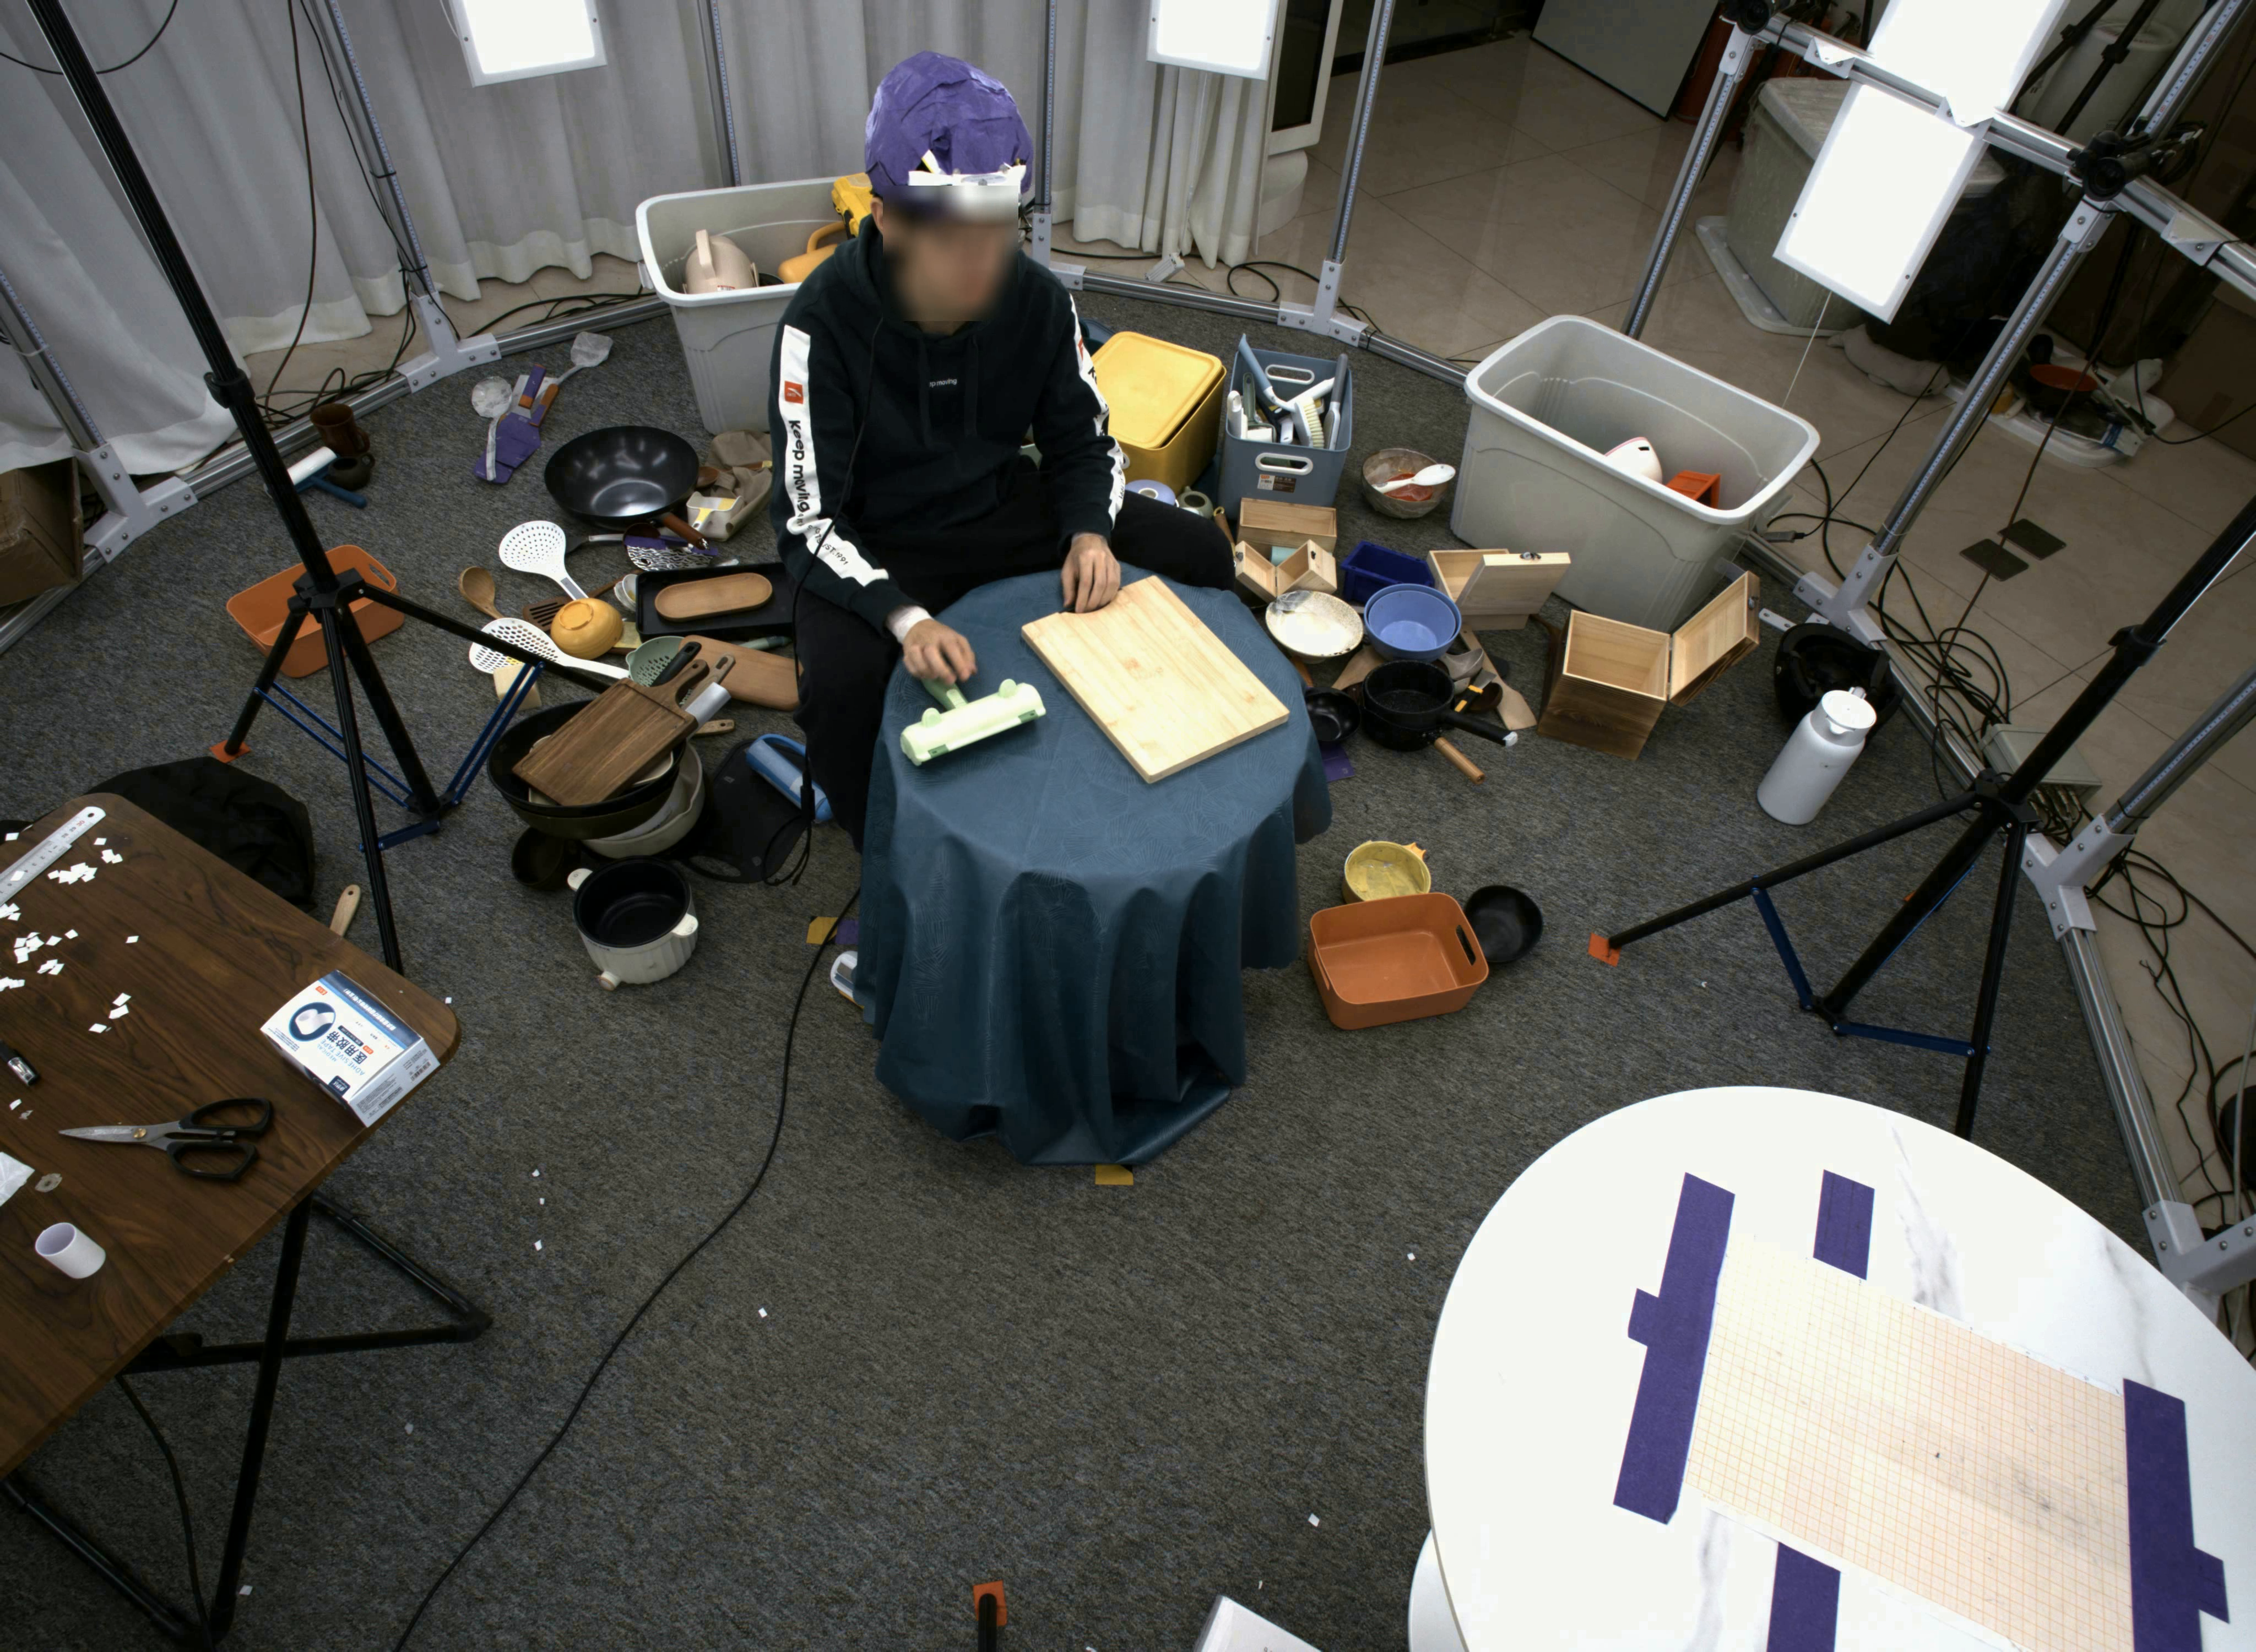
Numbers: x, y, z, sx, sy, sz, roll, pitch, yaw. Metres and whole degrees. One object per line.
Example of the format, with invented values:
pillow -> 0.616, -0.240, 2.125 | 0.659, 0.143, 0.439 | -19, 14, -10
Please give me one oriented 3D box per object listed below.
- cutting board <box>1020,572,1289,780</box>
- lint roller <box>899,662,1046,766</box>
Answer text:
cutting board -> 0.033, -0.224, 1.854 | 0.252, 0.023, 0.355 | -25, 55, -23
lint roller -> -0.239, -0.182, 1.759 | 0.199, 0.080, 0.187 | -23, 58, -22
